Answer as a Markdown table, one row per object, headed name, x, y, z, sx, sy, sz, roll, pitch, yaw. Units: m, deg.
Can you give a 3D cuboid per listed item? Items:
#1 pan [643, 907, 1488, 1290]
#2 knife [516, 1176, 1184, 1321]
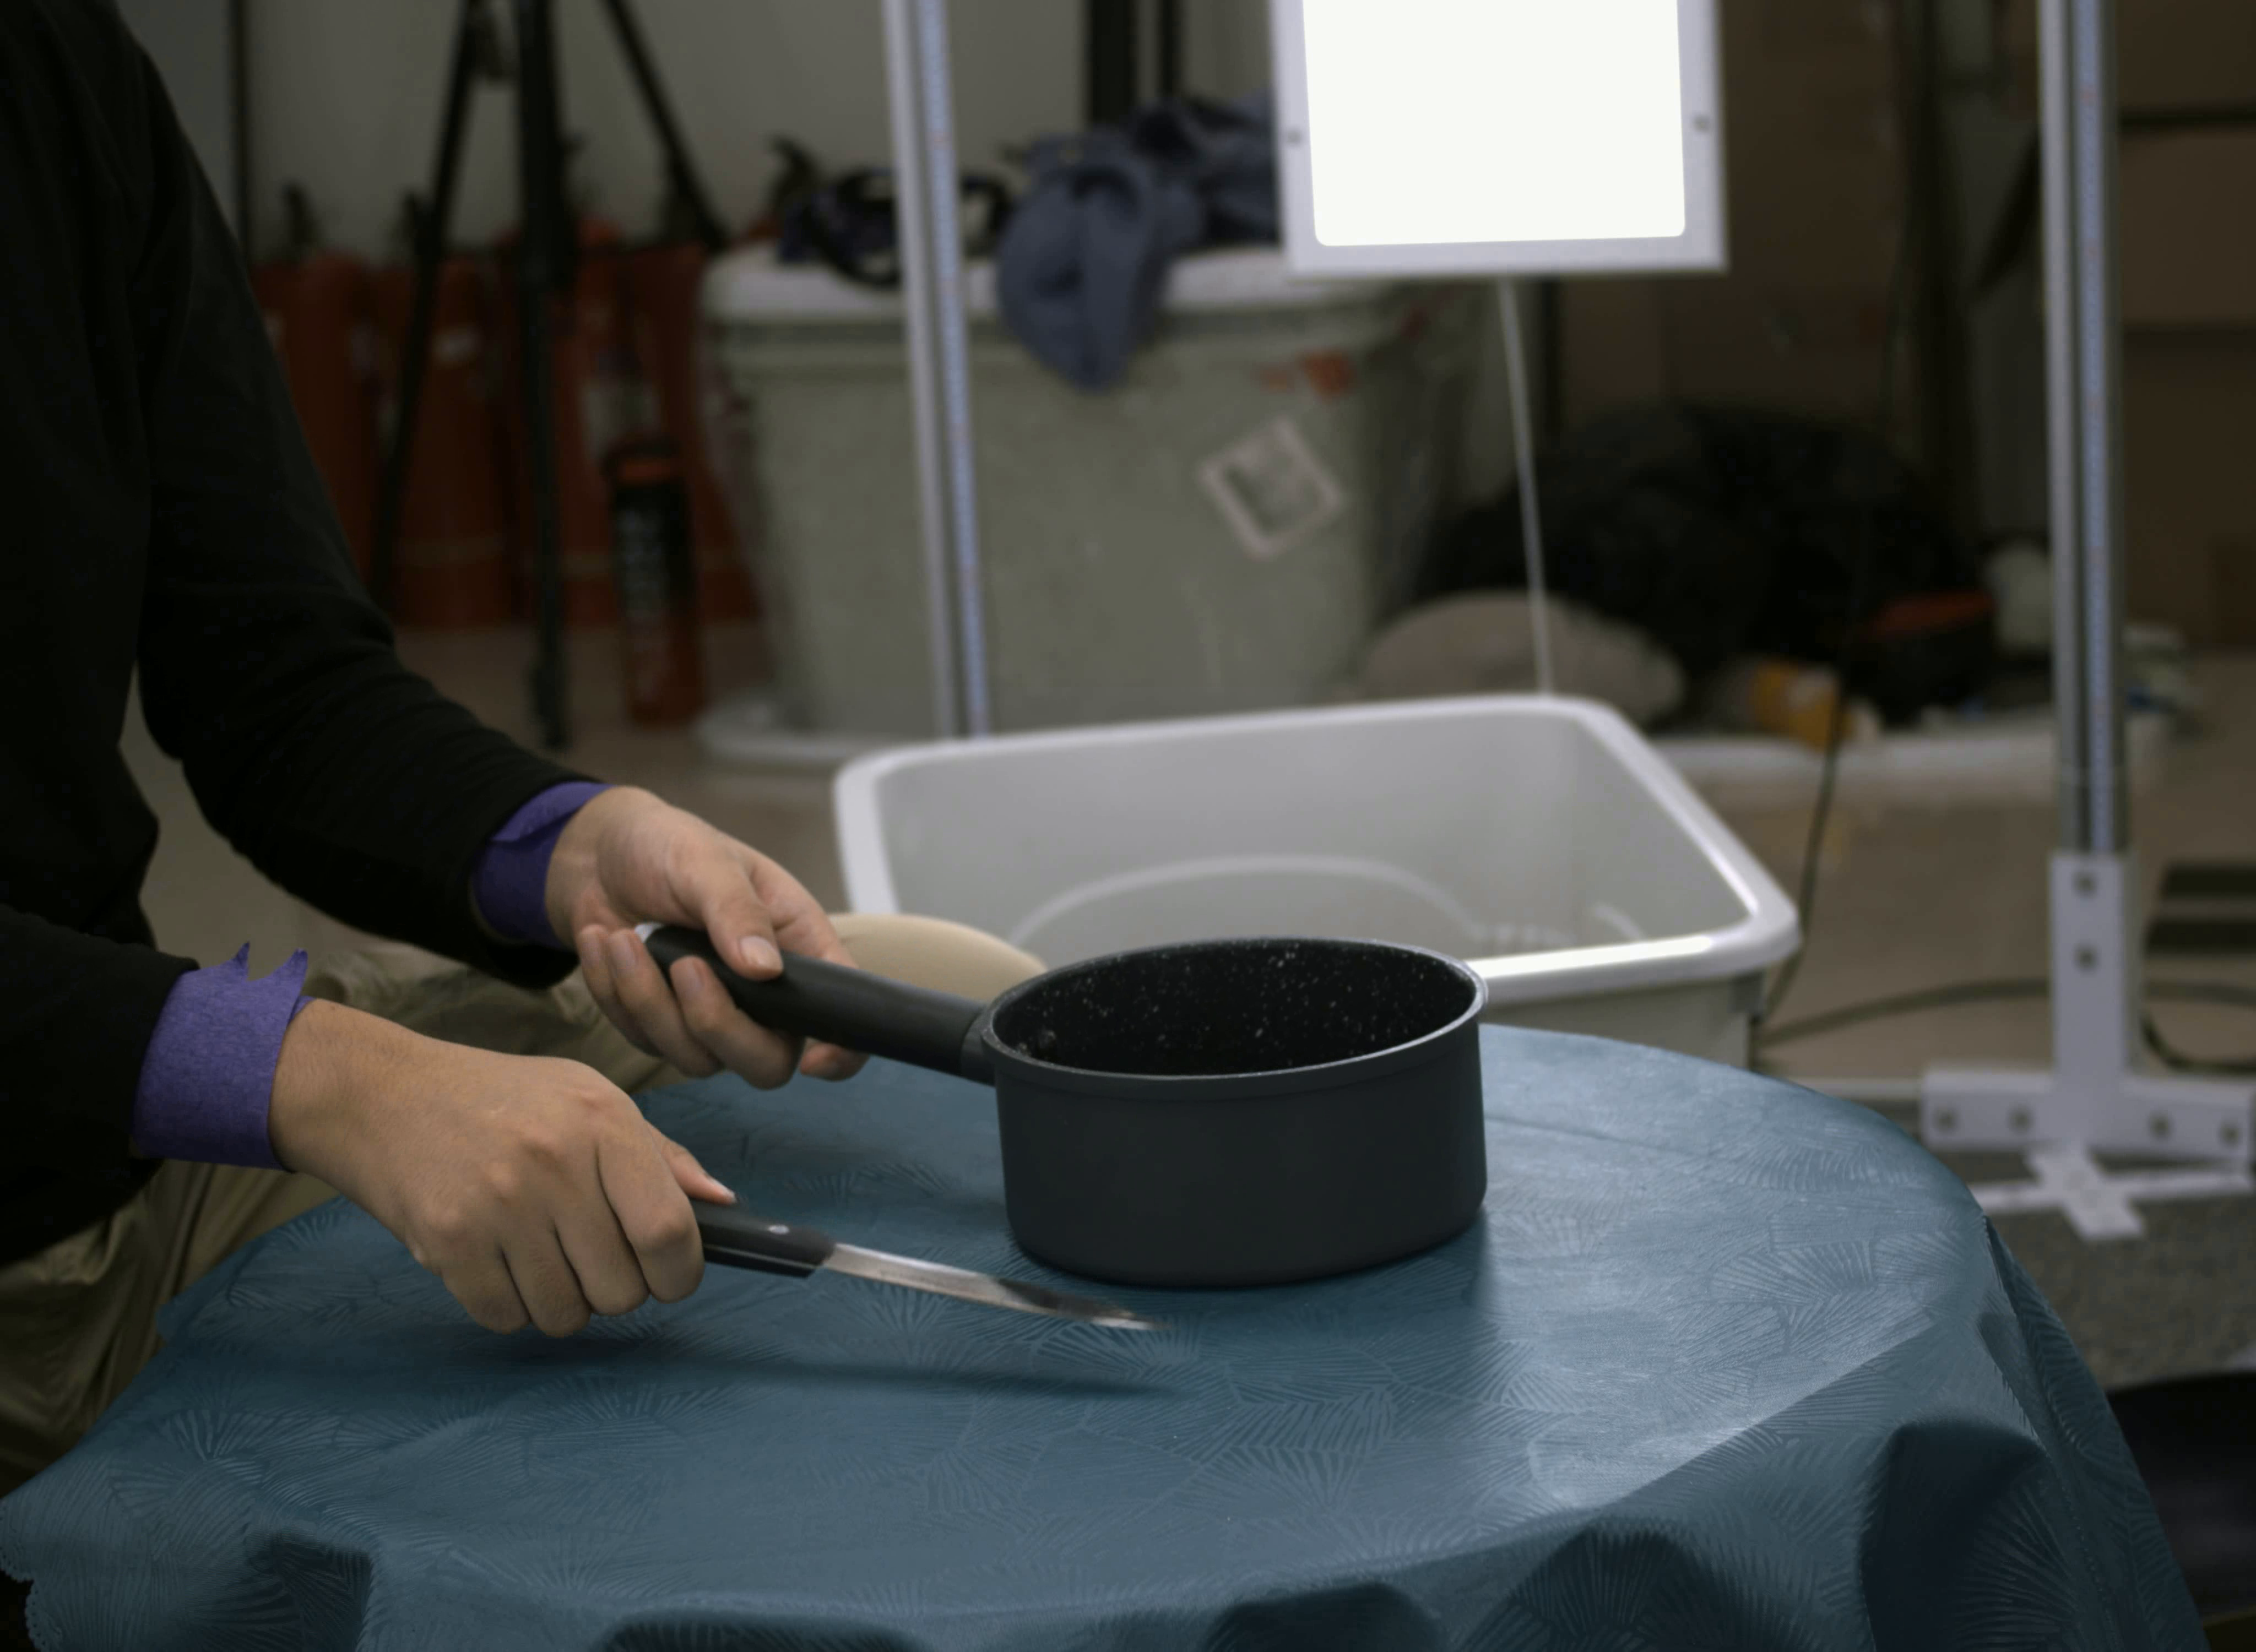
| name | x | y | z | sx | sy | sz | roll | pitch | yaw |
| --- | --- | --- | --- | --- | --- | --- | --- | --- | --- |
| pan | -0.029 | 0.086 | 1.895 | 0.335 | 0.087 | 0.168 | 6 | 17 | 34 |
| knife | -0.092 | 0.137 | 1.749 | 0.242 | 0.016 | 0.024 | 8 | 14 | 25 |
